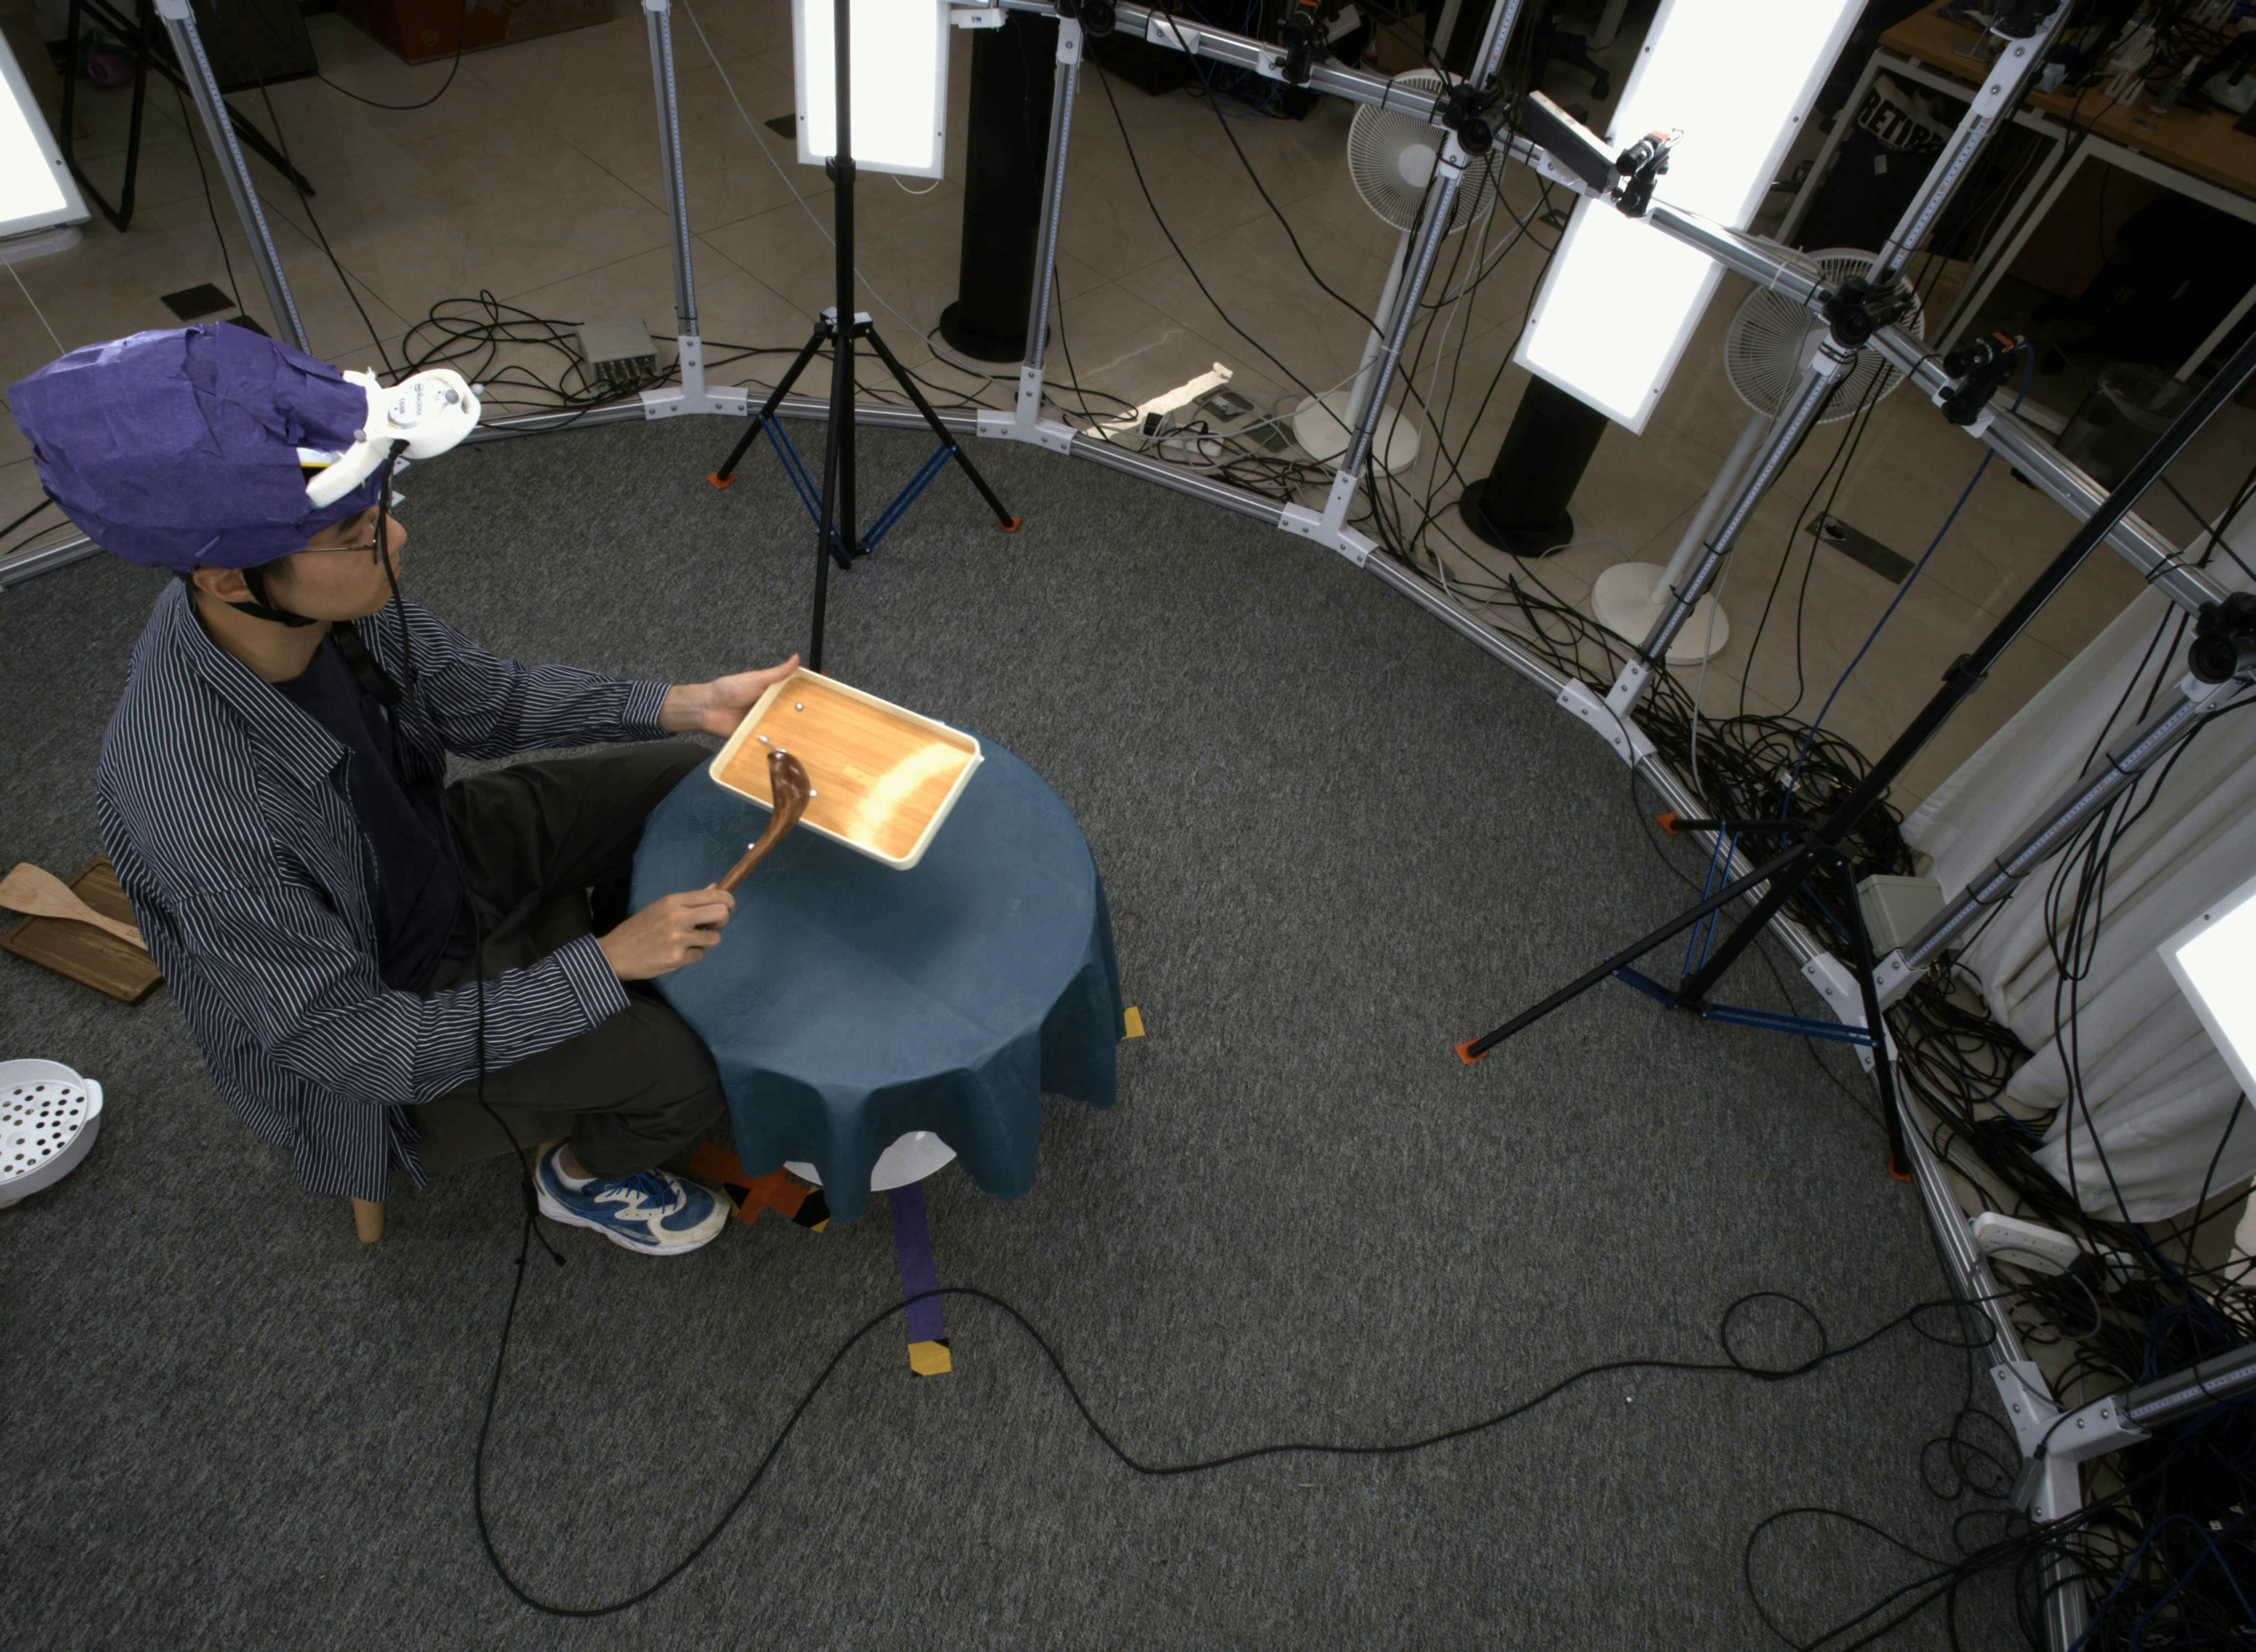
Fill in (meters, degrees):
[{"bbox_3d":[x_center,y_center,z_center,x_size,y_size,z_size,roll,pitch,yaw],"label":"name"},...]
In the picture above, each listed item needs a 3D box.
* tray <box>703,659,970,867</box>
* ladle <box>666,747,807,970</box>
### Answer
[{"bbox_3d":[-0.363,-0.083,1.615,0.293,0.028,0.191,24,67,15],"label":"tray"},{"bbox_3d":[-0.461,0.031,1.481,0.074,0.084,0.274,29,76,27],"label":"ladle"}]
